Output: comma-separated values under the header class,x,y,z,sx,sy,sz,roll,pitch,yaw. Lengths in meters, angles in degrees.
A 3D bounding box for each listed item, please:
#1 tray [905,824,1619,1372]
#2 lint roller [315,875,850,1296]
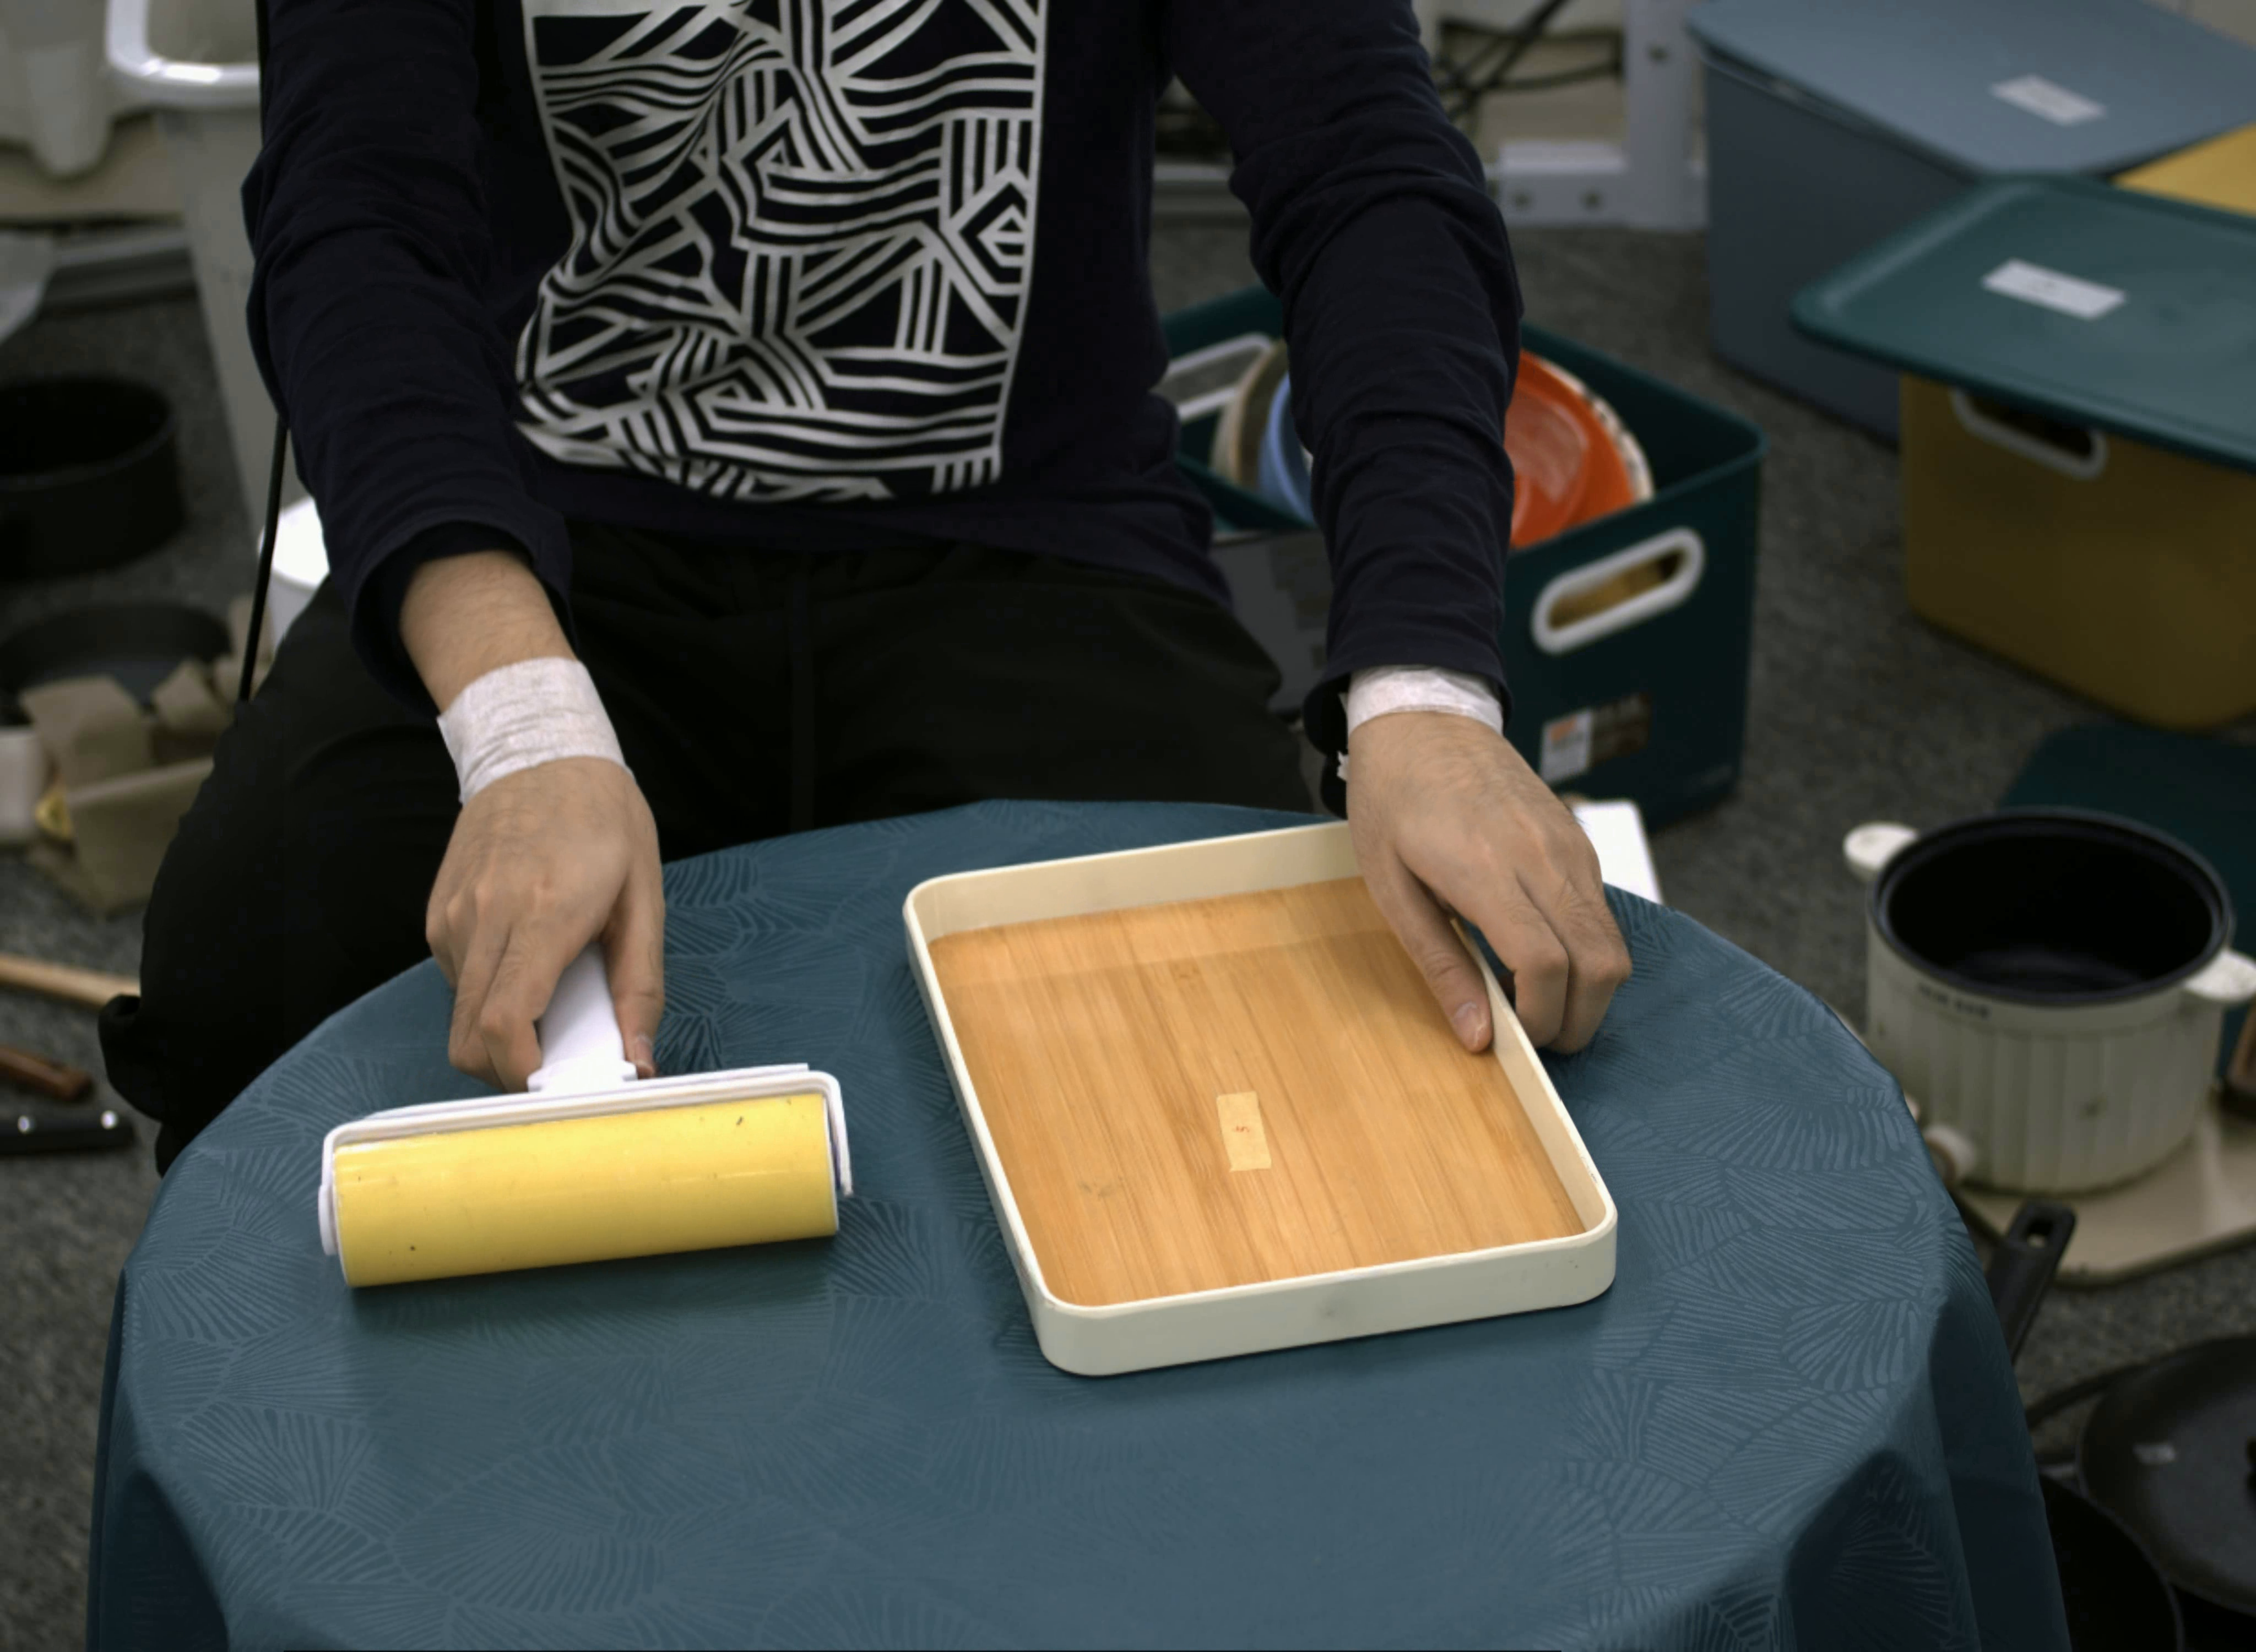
class,x,y,z,sx,sy,sz,roll,pitch,yaw
tray,0.039,0.086,1.899,0.191,0.027,0.304,-7,27,-9
lint roller,-0.187,0.073,1.881,0.174,0.050,0.195,-6,44,-5
